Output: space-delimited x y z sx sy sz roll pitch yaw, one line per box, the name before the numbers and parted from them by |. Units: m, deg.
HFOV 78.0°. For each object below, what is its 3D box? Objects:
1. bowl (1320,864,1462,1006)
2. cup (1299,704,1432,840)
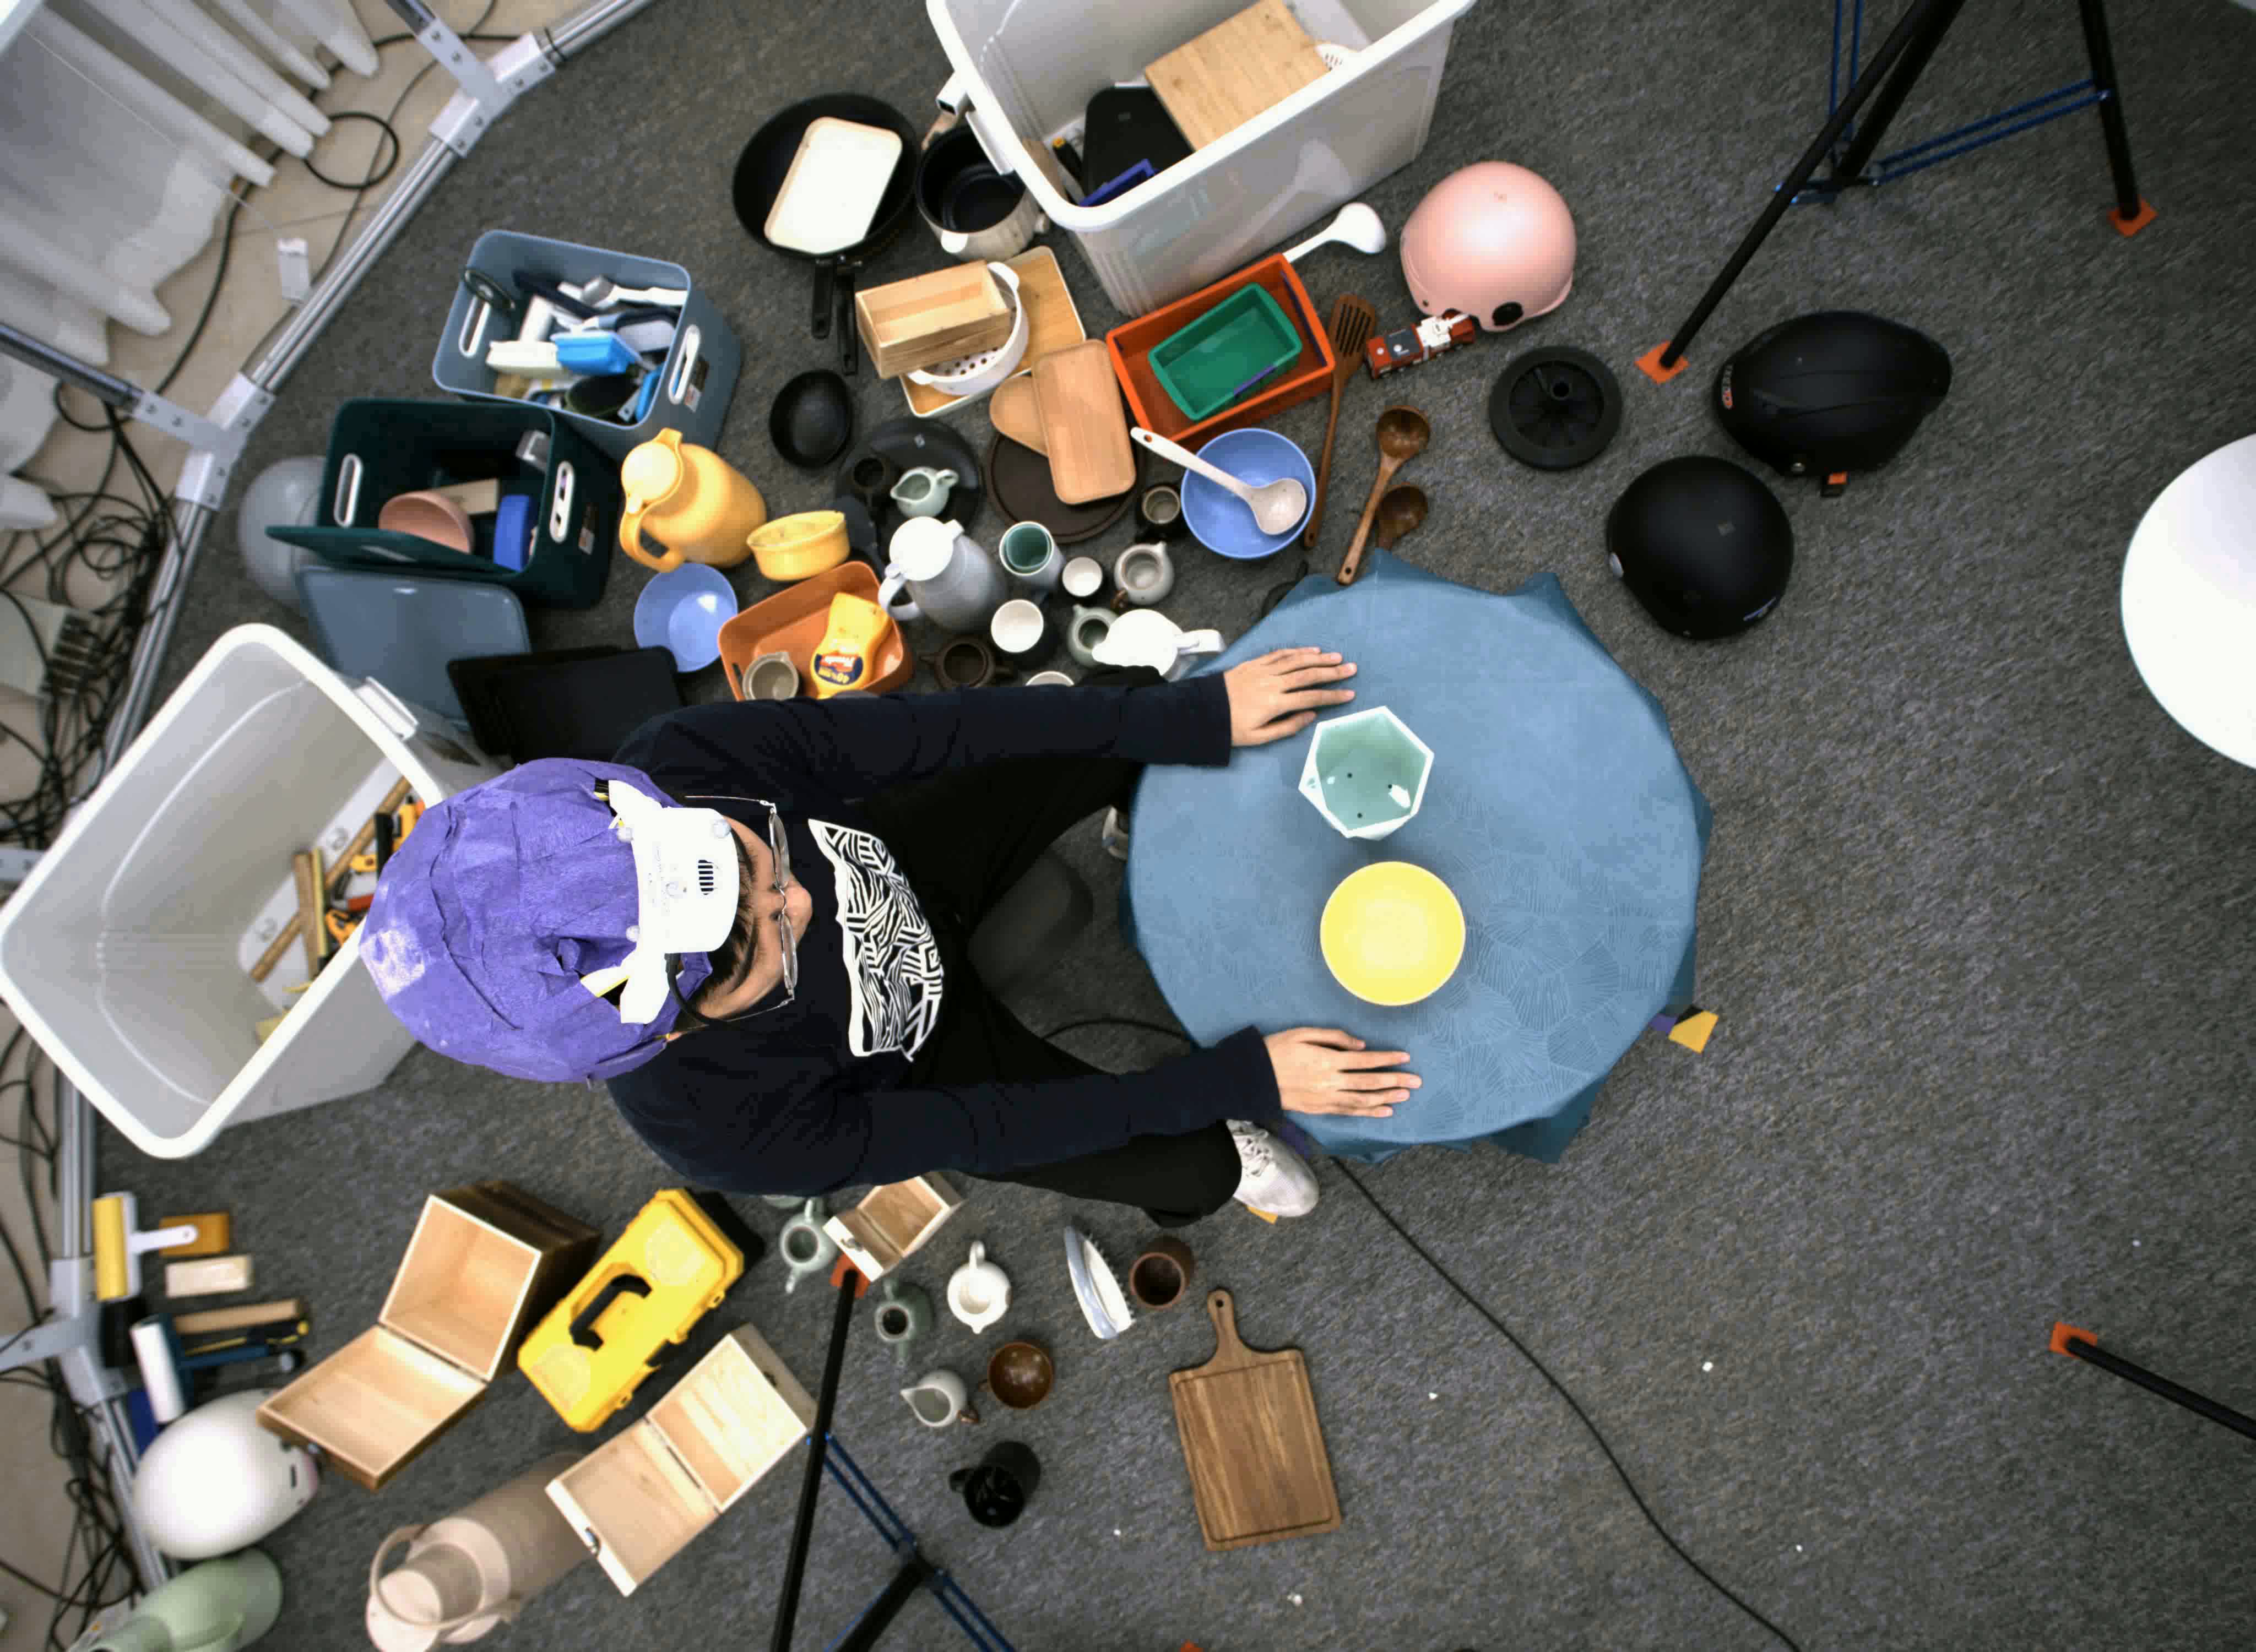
bowl | 0.272 0.112 1.429 0.146 0.060 0.144 -1 85 13
cup | 0.241 -0.046 1.387 0.115 0.163 0.130 15 87 12
